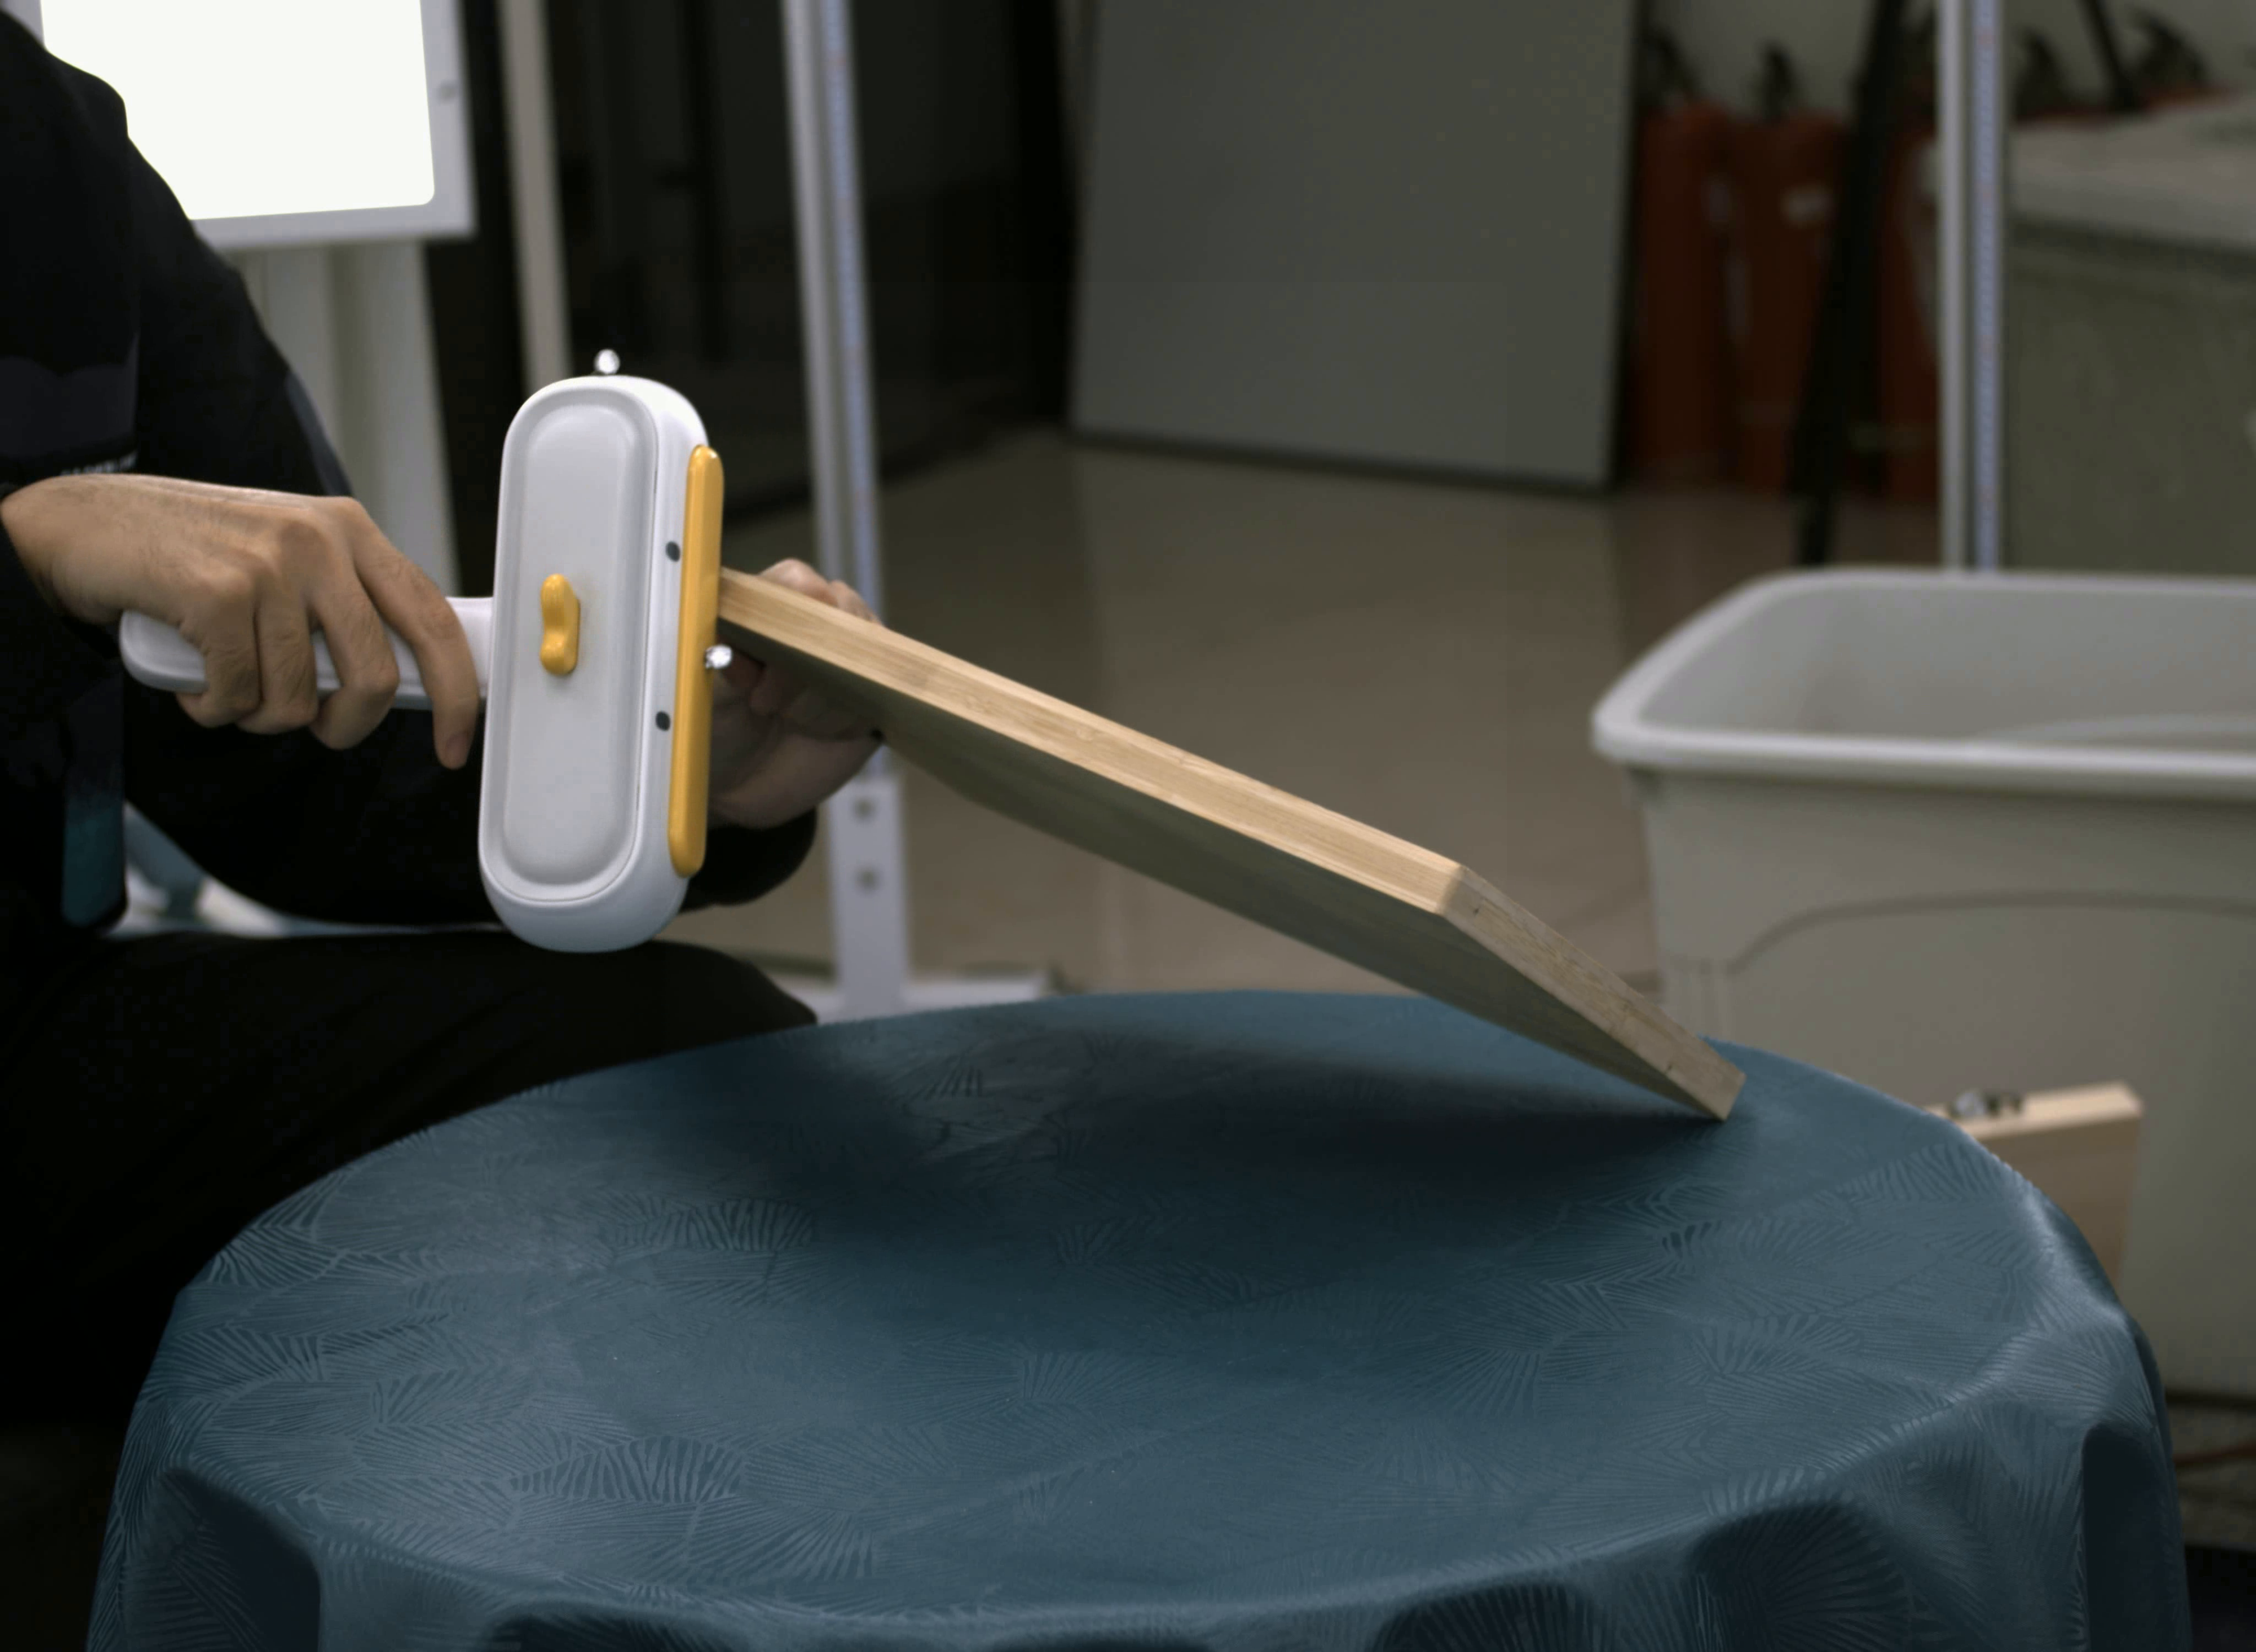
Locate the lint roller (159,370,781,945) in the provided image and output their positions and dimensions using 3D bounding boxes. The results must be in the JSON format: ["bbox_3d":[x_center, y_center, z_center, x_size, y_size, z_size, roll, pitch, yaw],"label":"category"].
[{"bbox_3d":[-0.214,-0.048,1.750,0.190,0.195,0.074,-10,-18,5],"label":"lint roller"}]

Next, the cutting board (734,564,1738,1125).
[{"bbox_3d":[0.016,0.000,1.807,0.351,0.024,0.247,23,-8,34],"label":"cutting board"}]
